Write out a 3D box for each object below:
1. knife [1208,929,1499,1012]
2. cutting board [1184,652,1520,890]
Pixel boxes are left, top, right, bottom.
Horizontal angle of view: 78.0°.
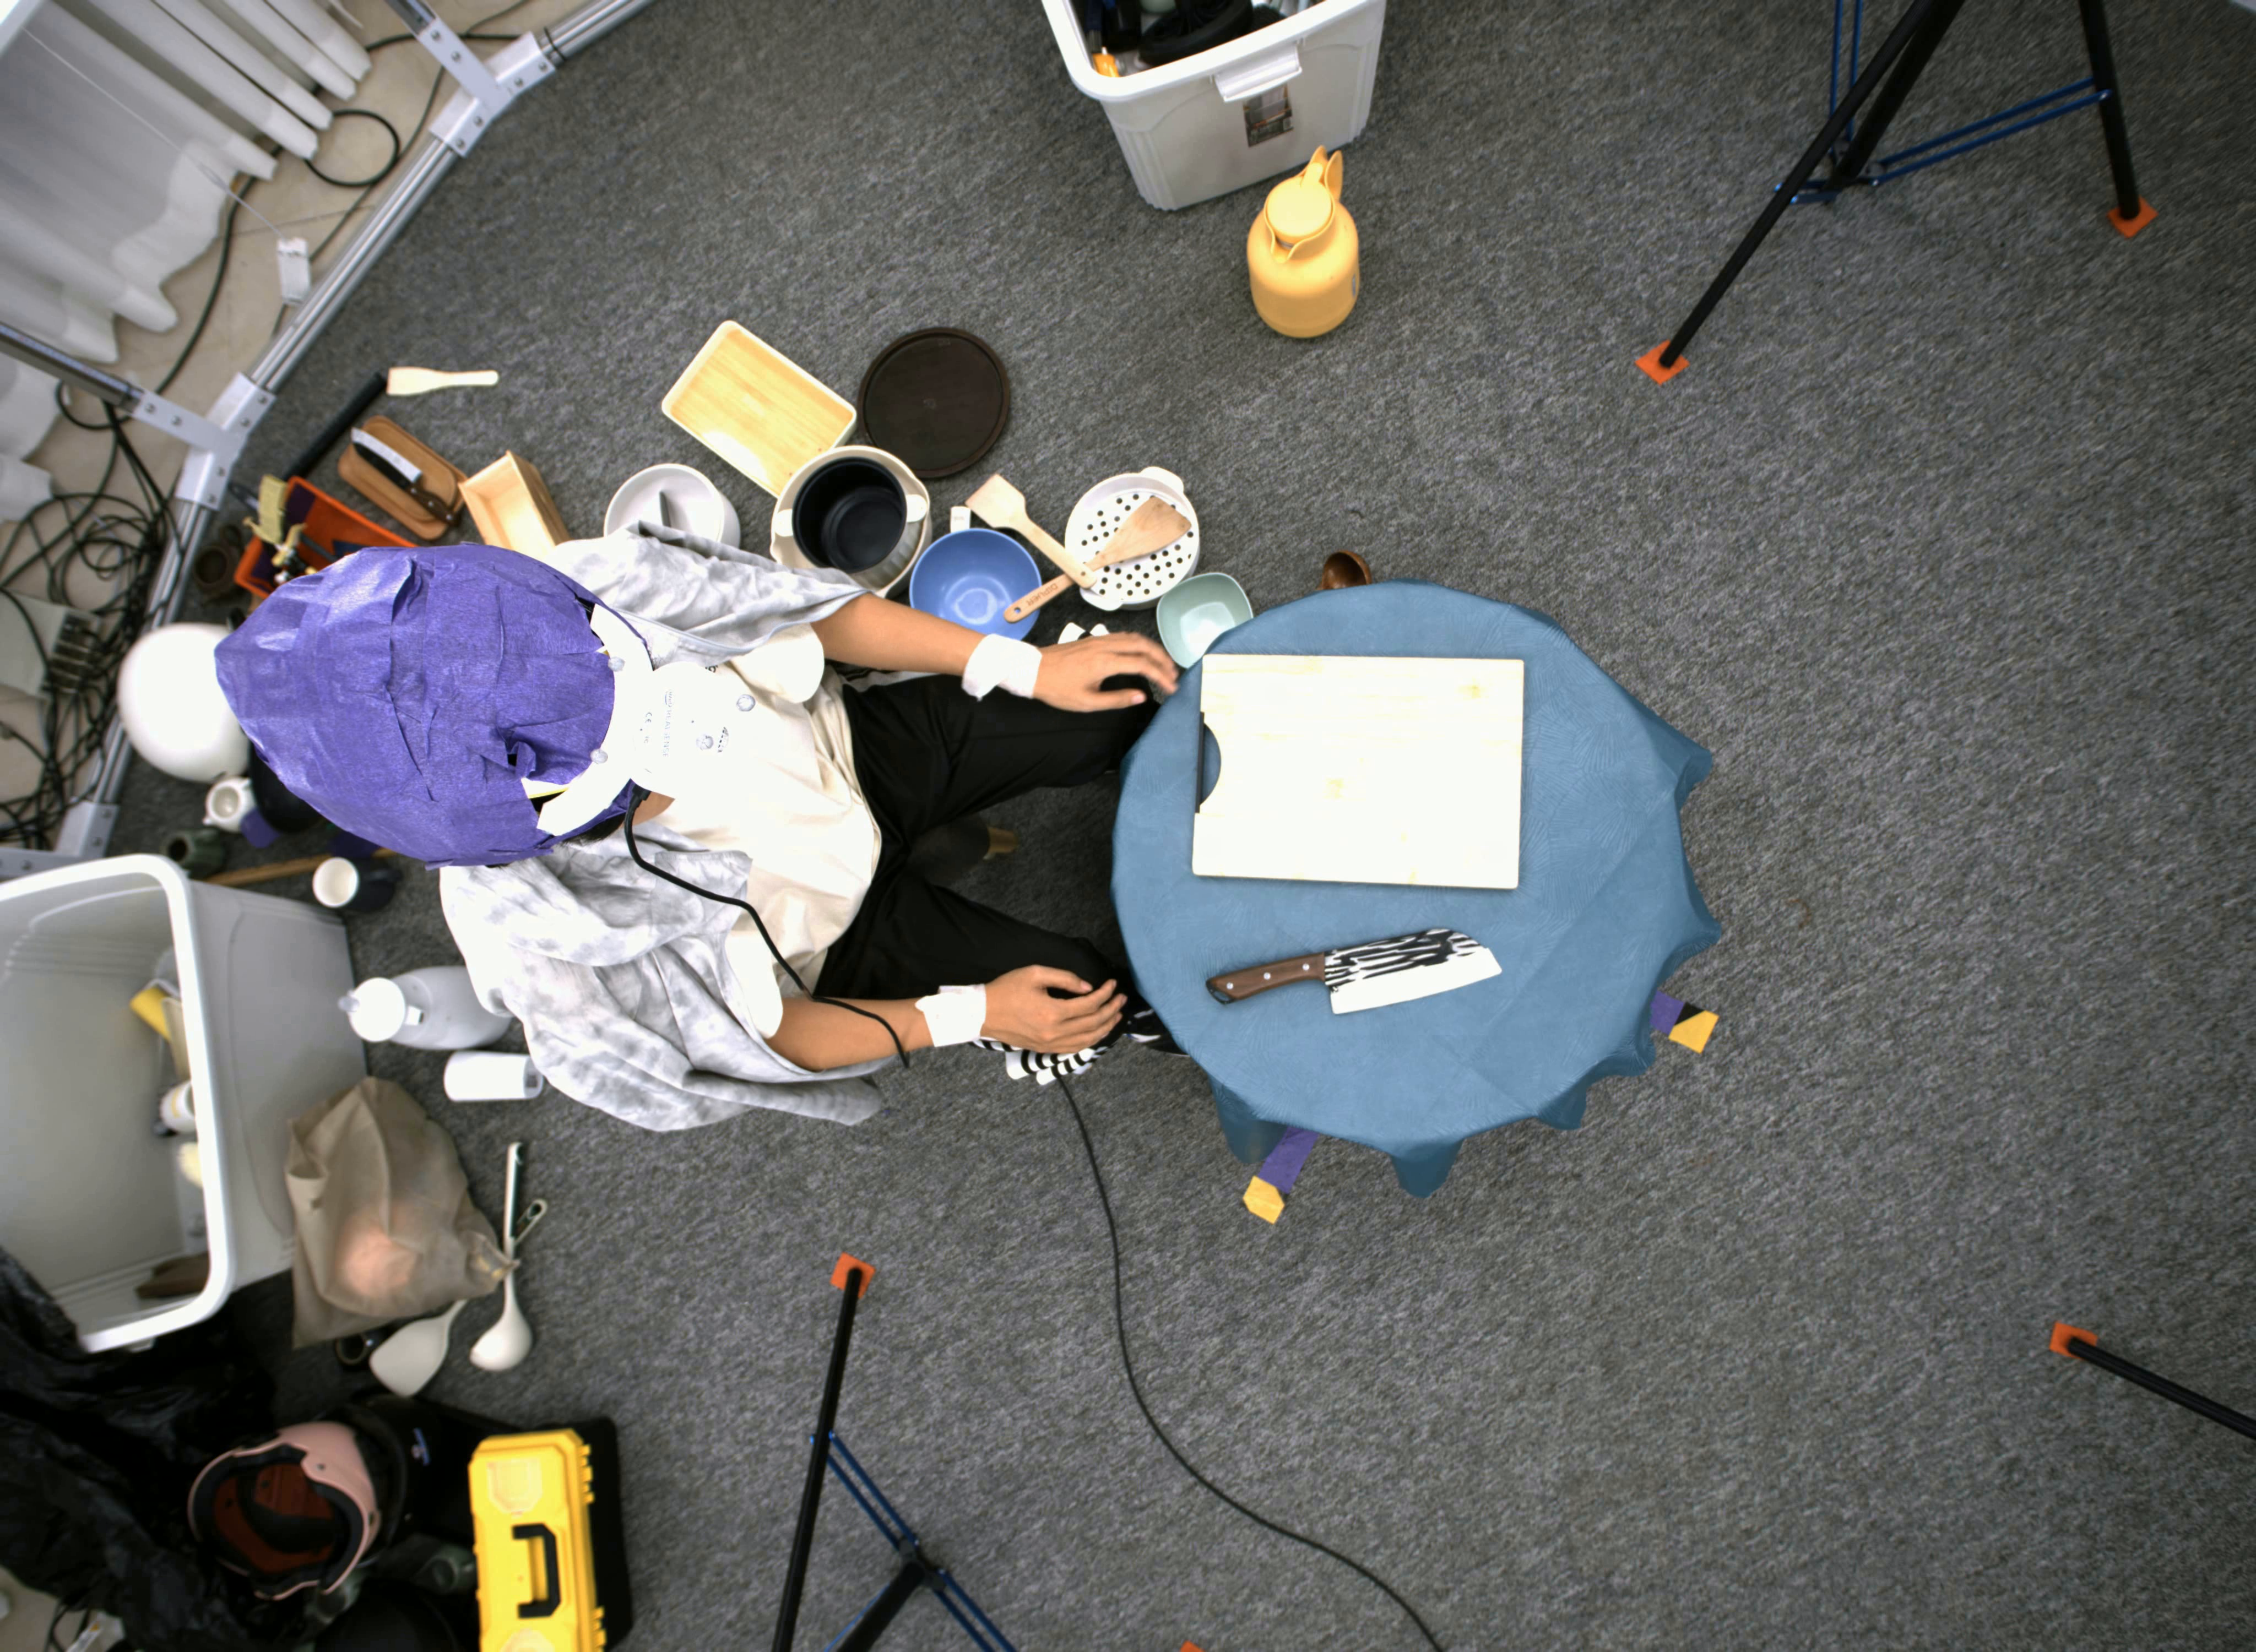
[{"bbox_3d":[0.235,0.156,1.450,0.301,0.024,0.068,-11,87,7],"label":"knife"},{"bbox_3d":[0.237,-0.063,1.464,0.350,0.023,0.249,1,87,11],"label":"cutting board"}]
